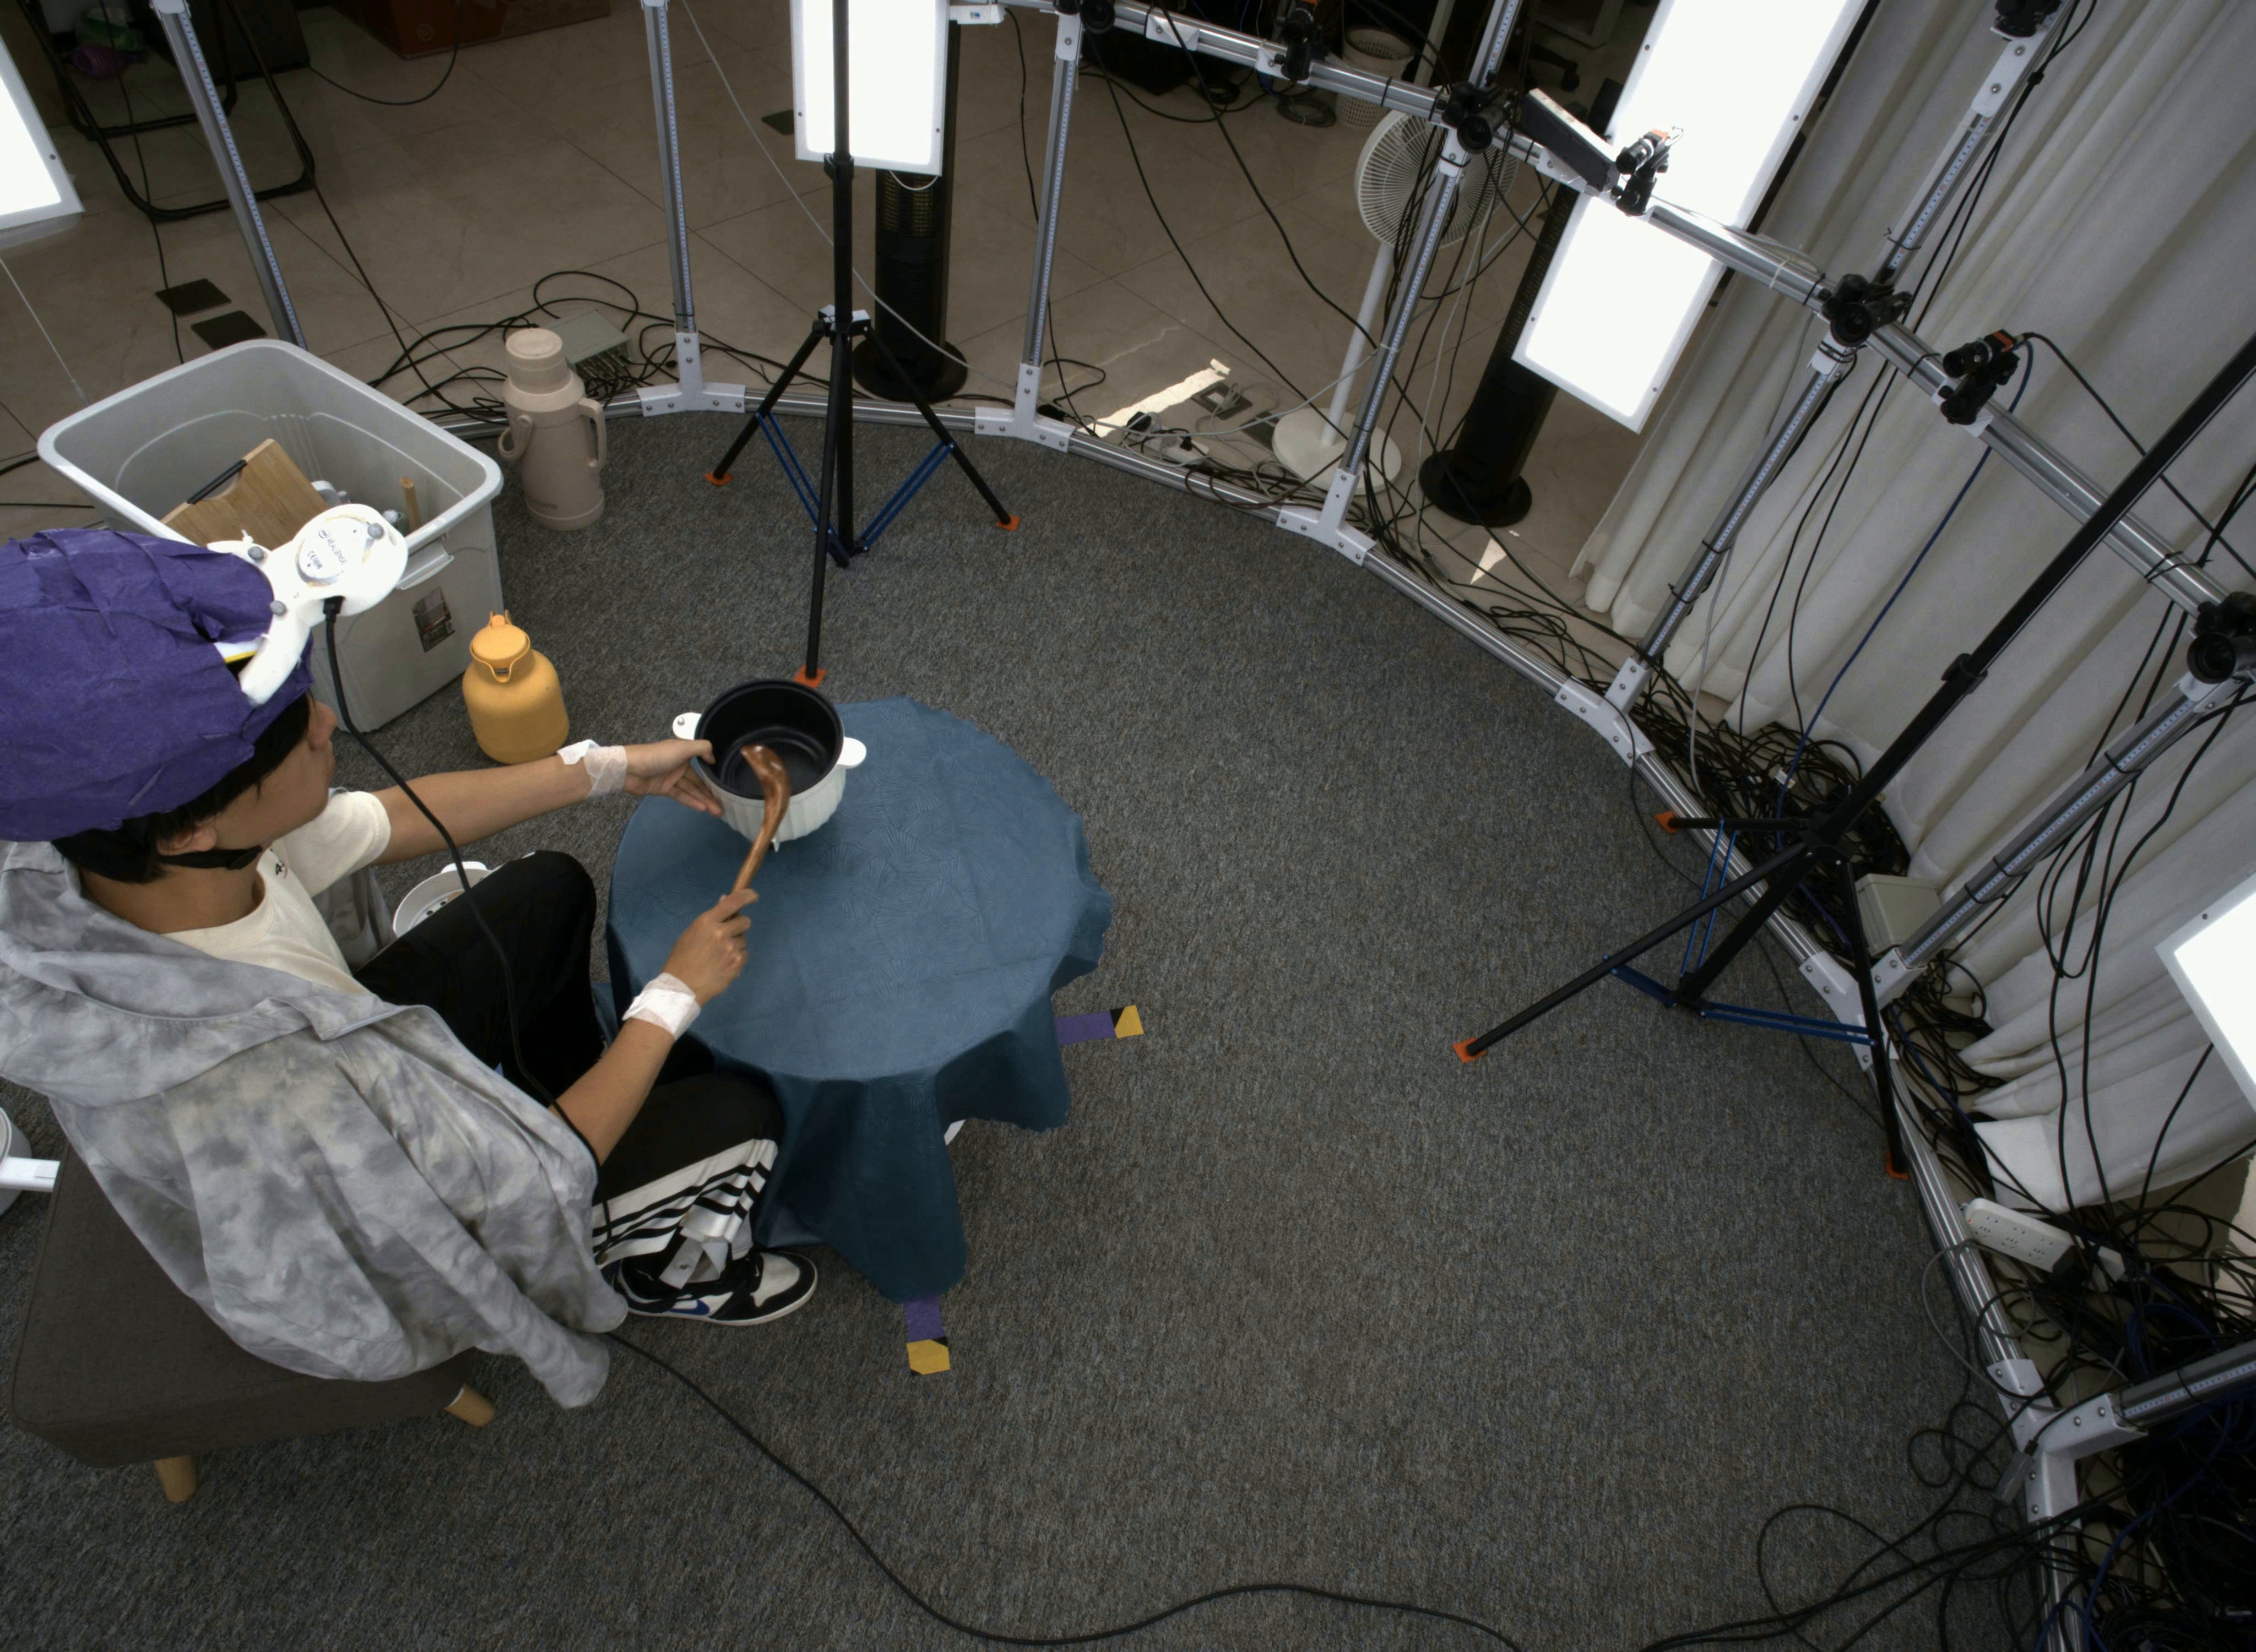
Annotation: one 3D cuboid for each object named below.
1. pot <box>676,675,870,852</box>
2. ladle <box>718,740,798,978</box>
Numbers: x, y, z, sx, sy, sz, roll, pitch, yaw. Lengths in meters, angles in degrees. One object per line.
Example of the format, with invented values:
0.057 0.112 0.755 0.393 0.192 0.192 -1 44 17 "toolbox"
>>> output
-0.443 -0.082 1.643 0.239 0.145 0.188 9 62 -5 "pot"
-0.447 0.032 1.489 0.074 0.084 0.274 12 76 17 "ladle"
